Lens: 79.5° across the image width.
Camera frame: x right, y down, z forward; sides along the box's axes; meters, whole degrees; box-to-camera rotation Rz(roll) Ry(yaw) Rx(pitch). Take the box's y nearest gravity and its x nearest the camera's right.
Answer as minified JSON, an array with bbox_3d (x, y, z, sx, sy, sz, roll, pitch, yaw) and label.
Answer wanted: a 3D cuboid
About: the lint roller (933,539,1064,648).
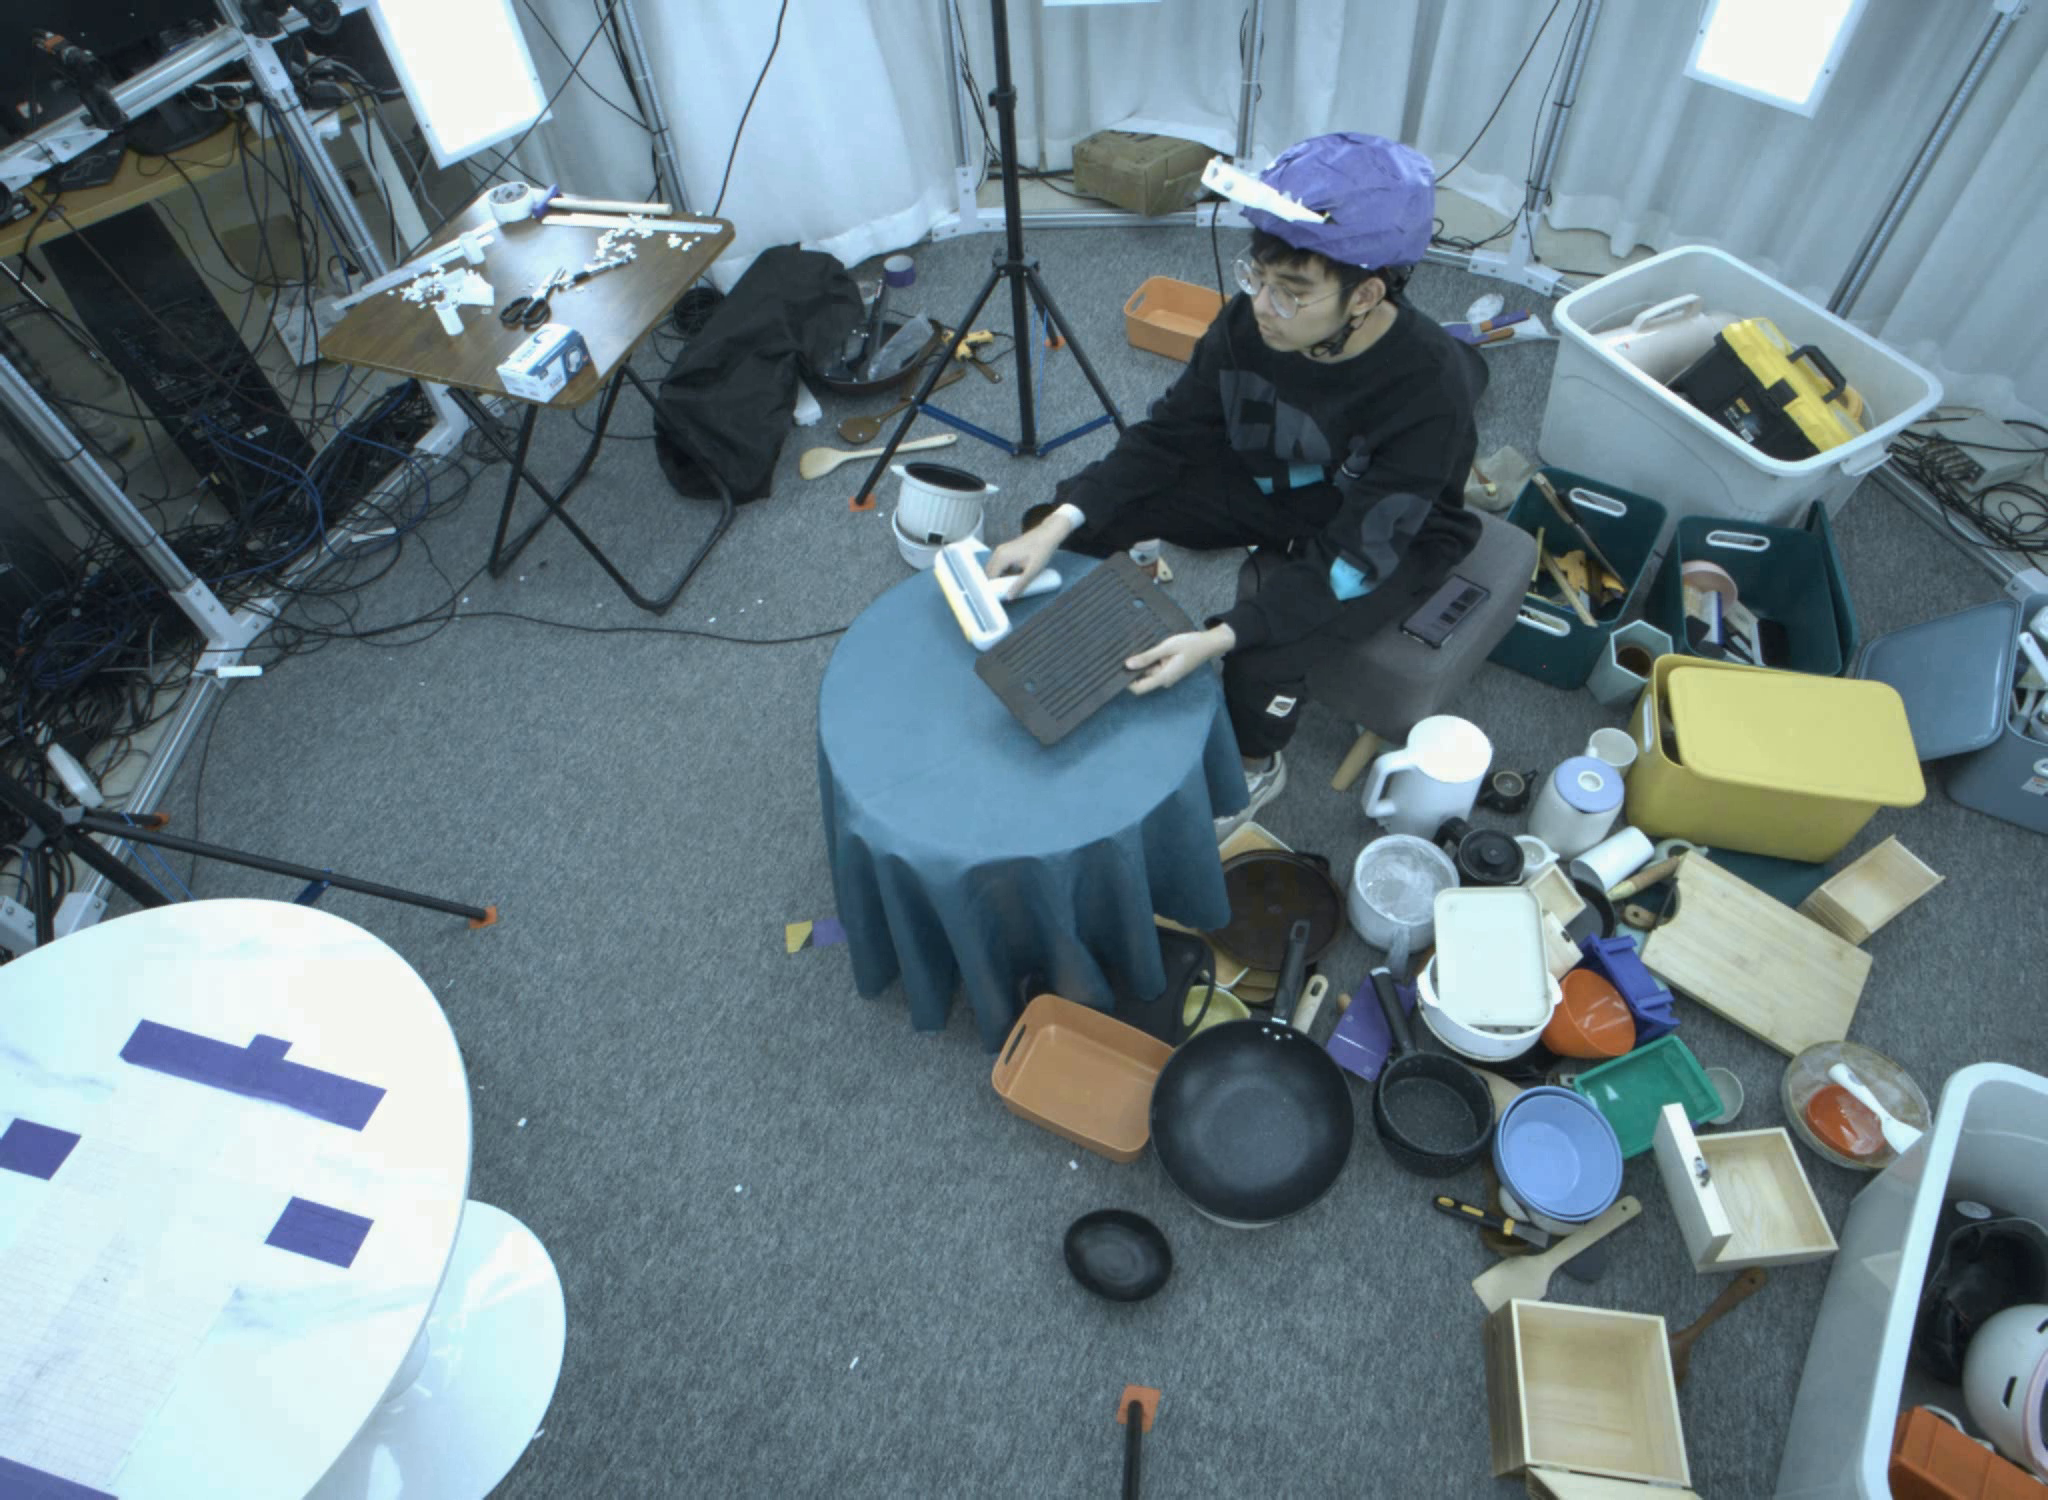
[{"bbox_3d":[-0.029,-0.257,1.925,0.194,0.075,0.190,-18,61,-12],"label":"lint roller"}]

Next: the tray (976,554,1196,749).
[{"bbox_3d":[0.092,-0.147,1.800,0.308,0.018,0.169,-39,79,-18],"label":"tray"}]
